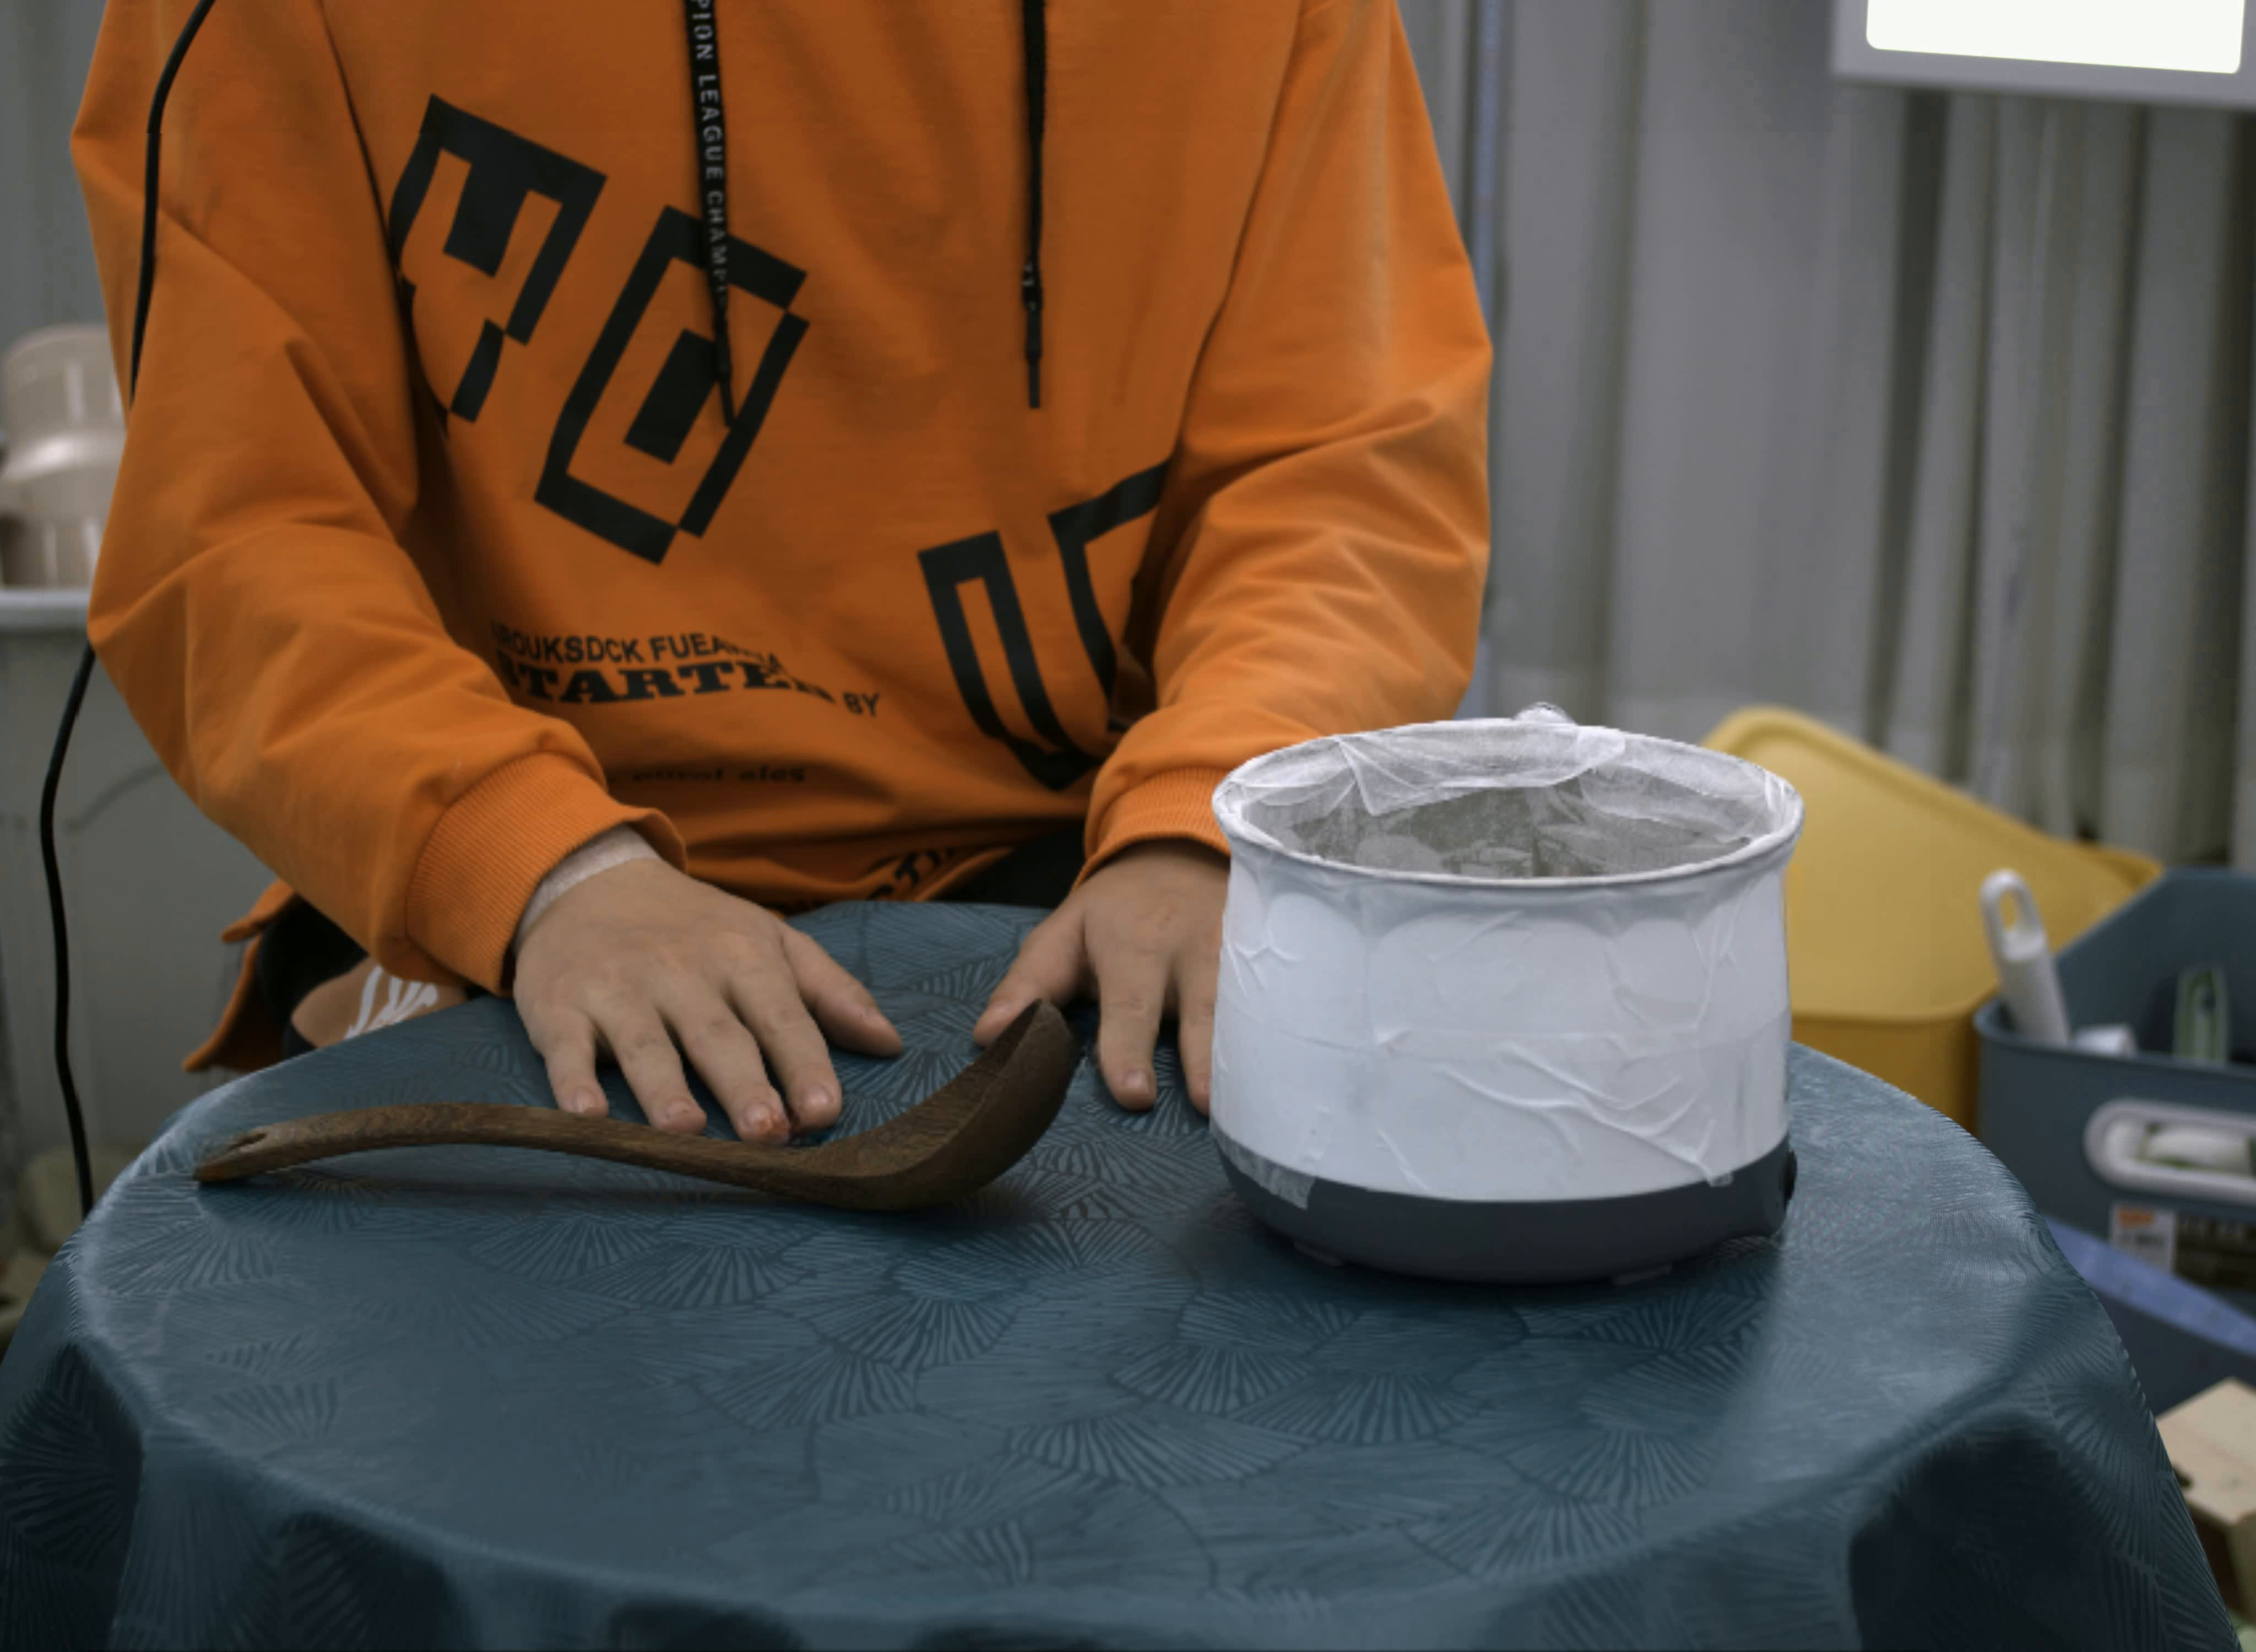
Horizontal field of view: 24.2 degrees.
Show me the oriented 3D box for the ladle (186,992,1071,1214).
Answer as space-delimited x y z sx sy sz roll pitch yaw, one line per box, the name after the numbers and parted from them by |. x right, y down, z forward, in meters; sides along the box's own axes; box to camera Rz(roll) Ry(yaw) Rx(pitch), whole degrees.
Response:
-0.153 0.080 1.605 0.273 0.072 0.076 3 14 5 | ladle

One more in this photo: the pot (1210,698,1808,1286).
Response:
0.117 0.045 1.610 0.177 0.138 0.233 3 16 8 | pot
